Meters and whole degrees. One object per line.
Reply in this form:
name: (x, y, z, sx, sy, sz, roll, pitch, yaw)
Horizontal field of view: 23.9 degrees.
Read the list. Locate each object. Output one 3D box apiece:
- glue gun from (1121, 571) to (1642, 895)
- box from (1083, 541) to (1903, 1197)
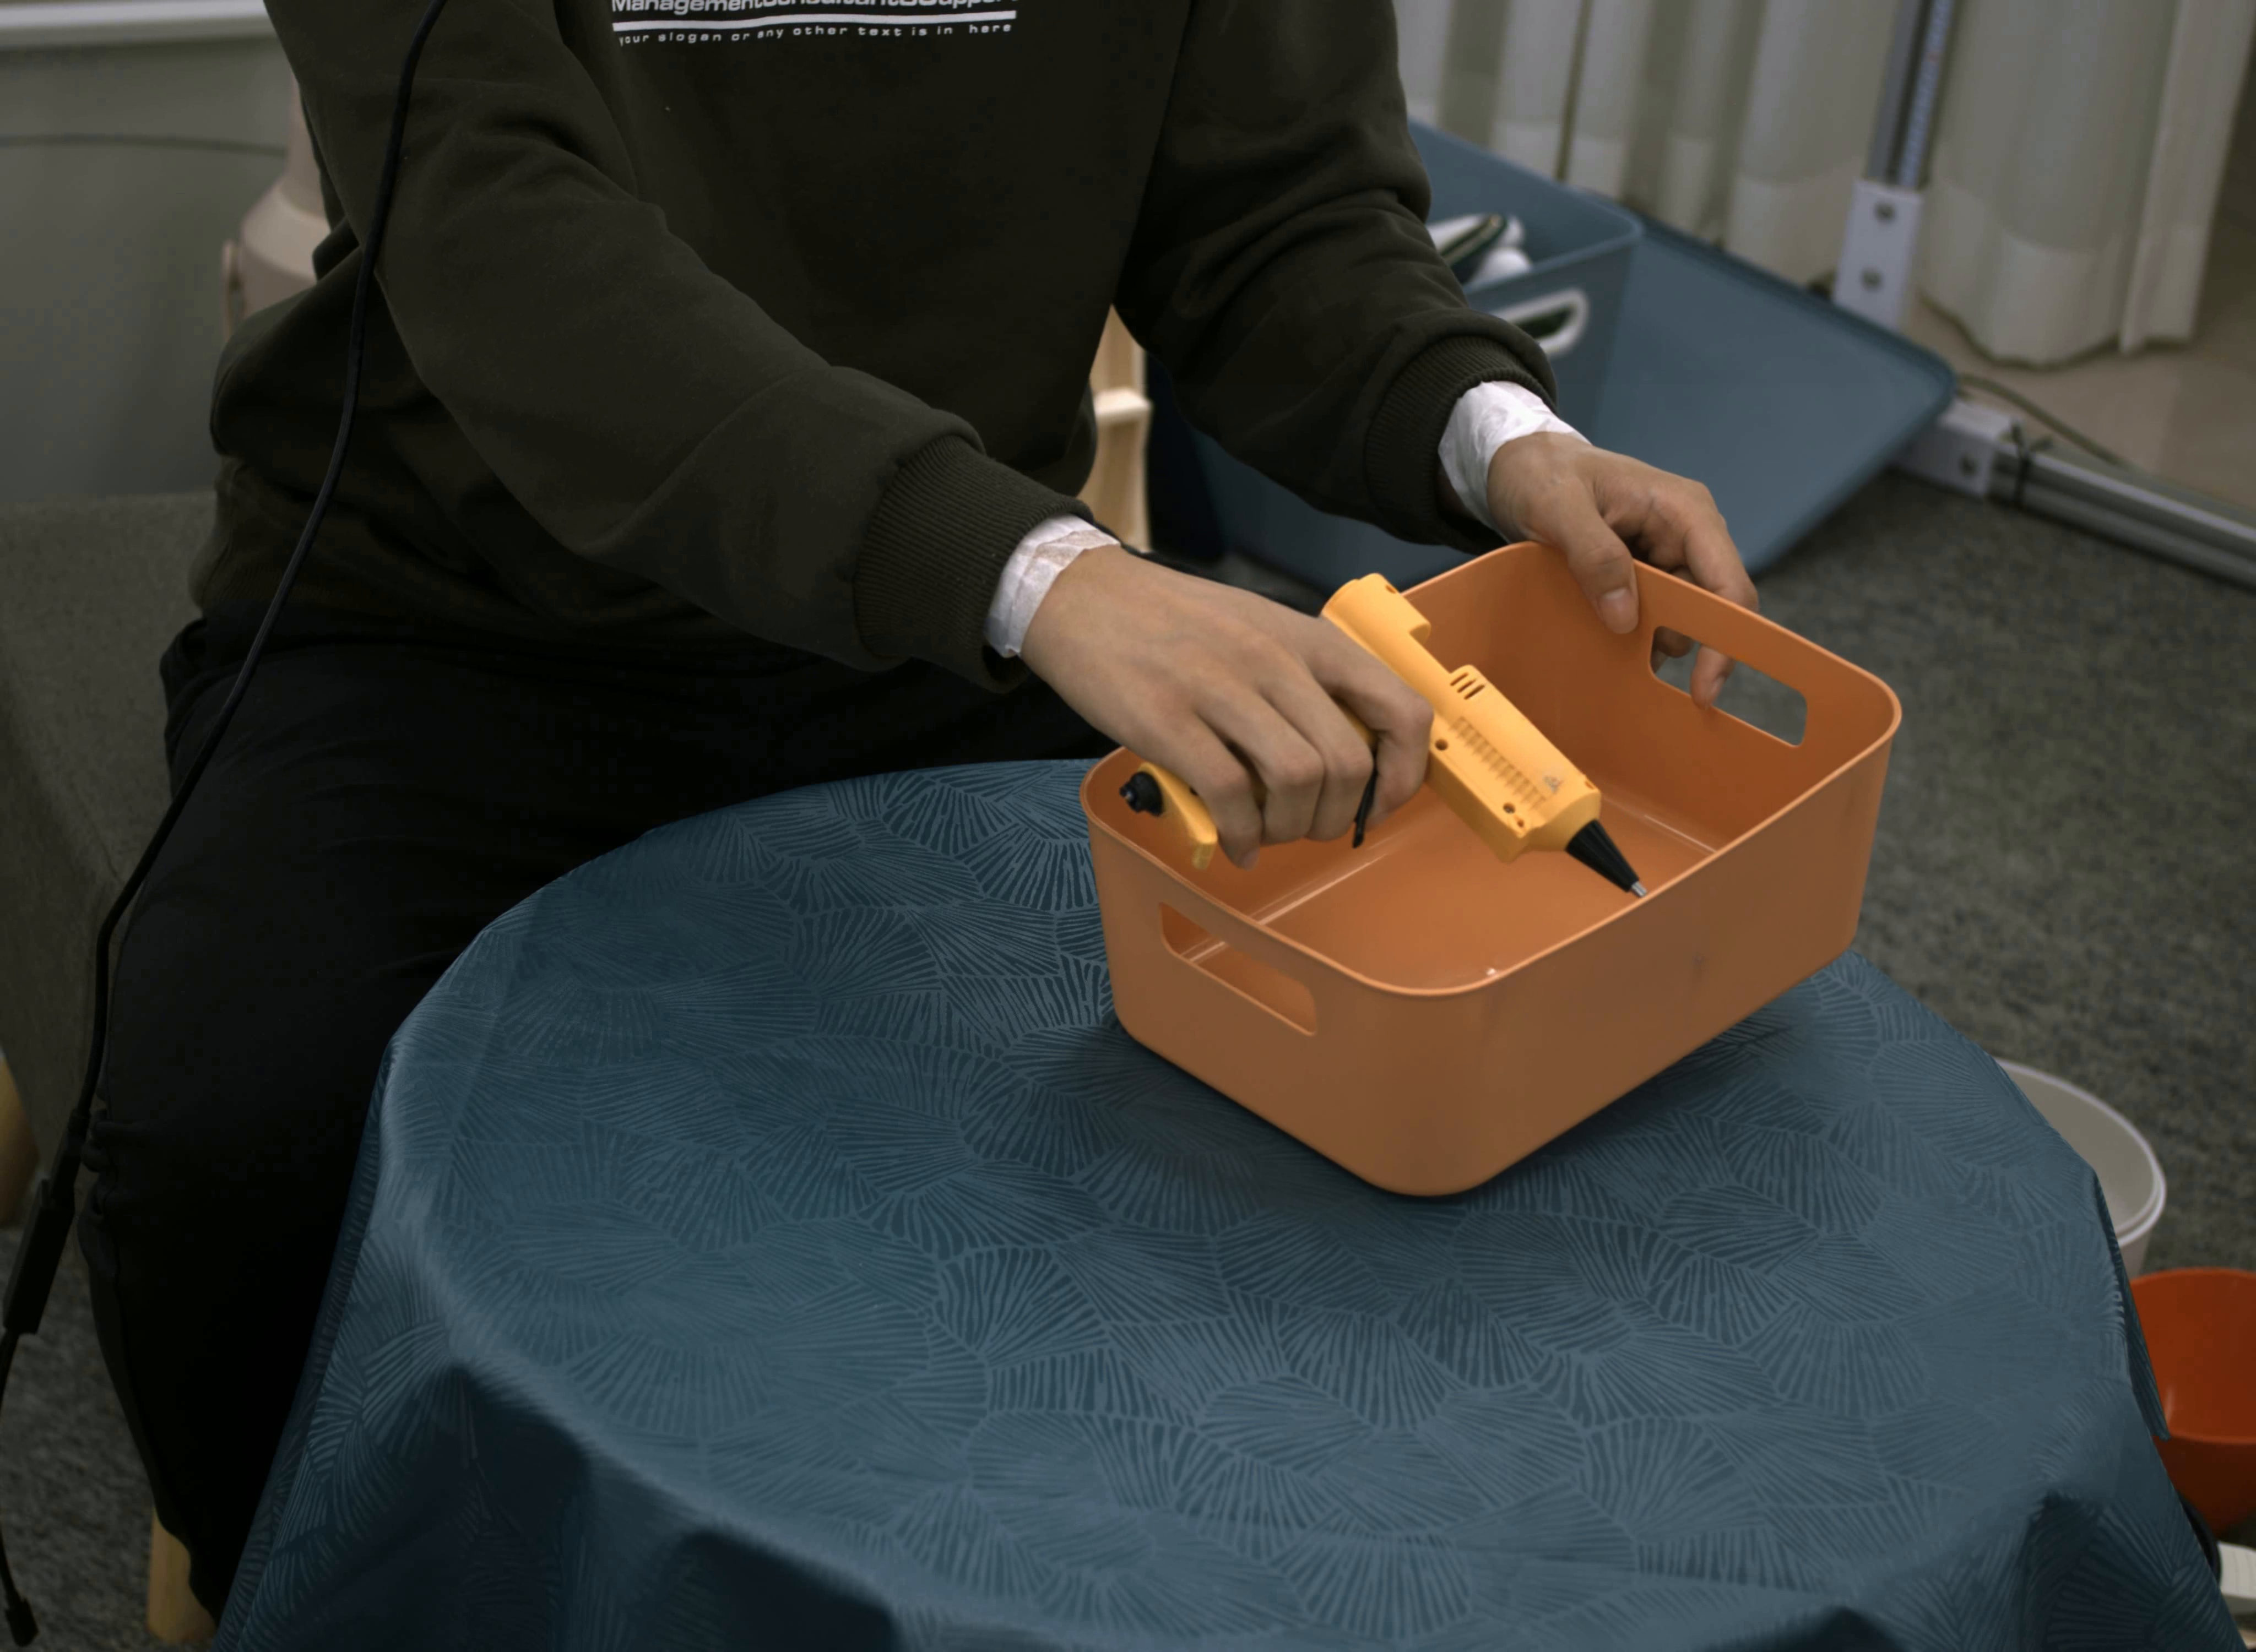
glue gun: (0.094, -0.003, 1.805, 0.152, 0.031, 0.133, 41, 59, 15)
box: (0.130, 0.015, 1.907, 0.272, 0.102, 0.201, -29, 42, -35)
